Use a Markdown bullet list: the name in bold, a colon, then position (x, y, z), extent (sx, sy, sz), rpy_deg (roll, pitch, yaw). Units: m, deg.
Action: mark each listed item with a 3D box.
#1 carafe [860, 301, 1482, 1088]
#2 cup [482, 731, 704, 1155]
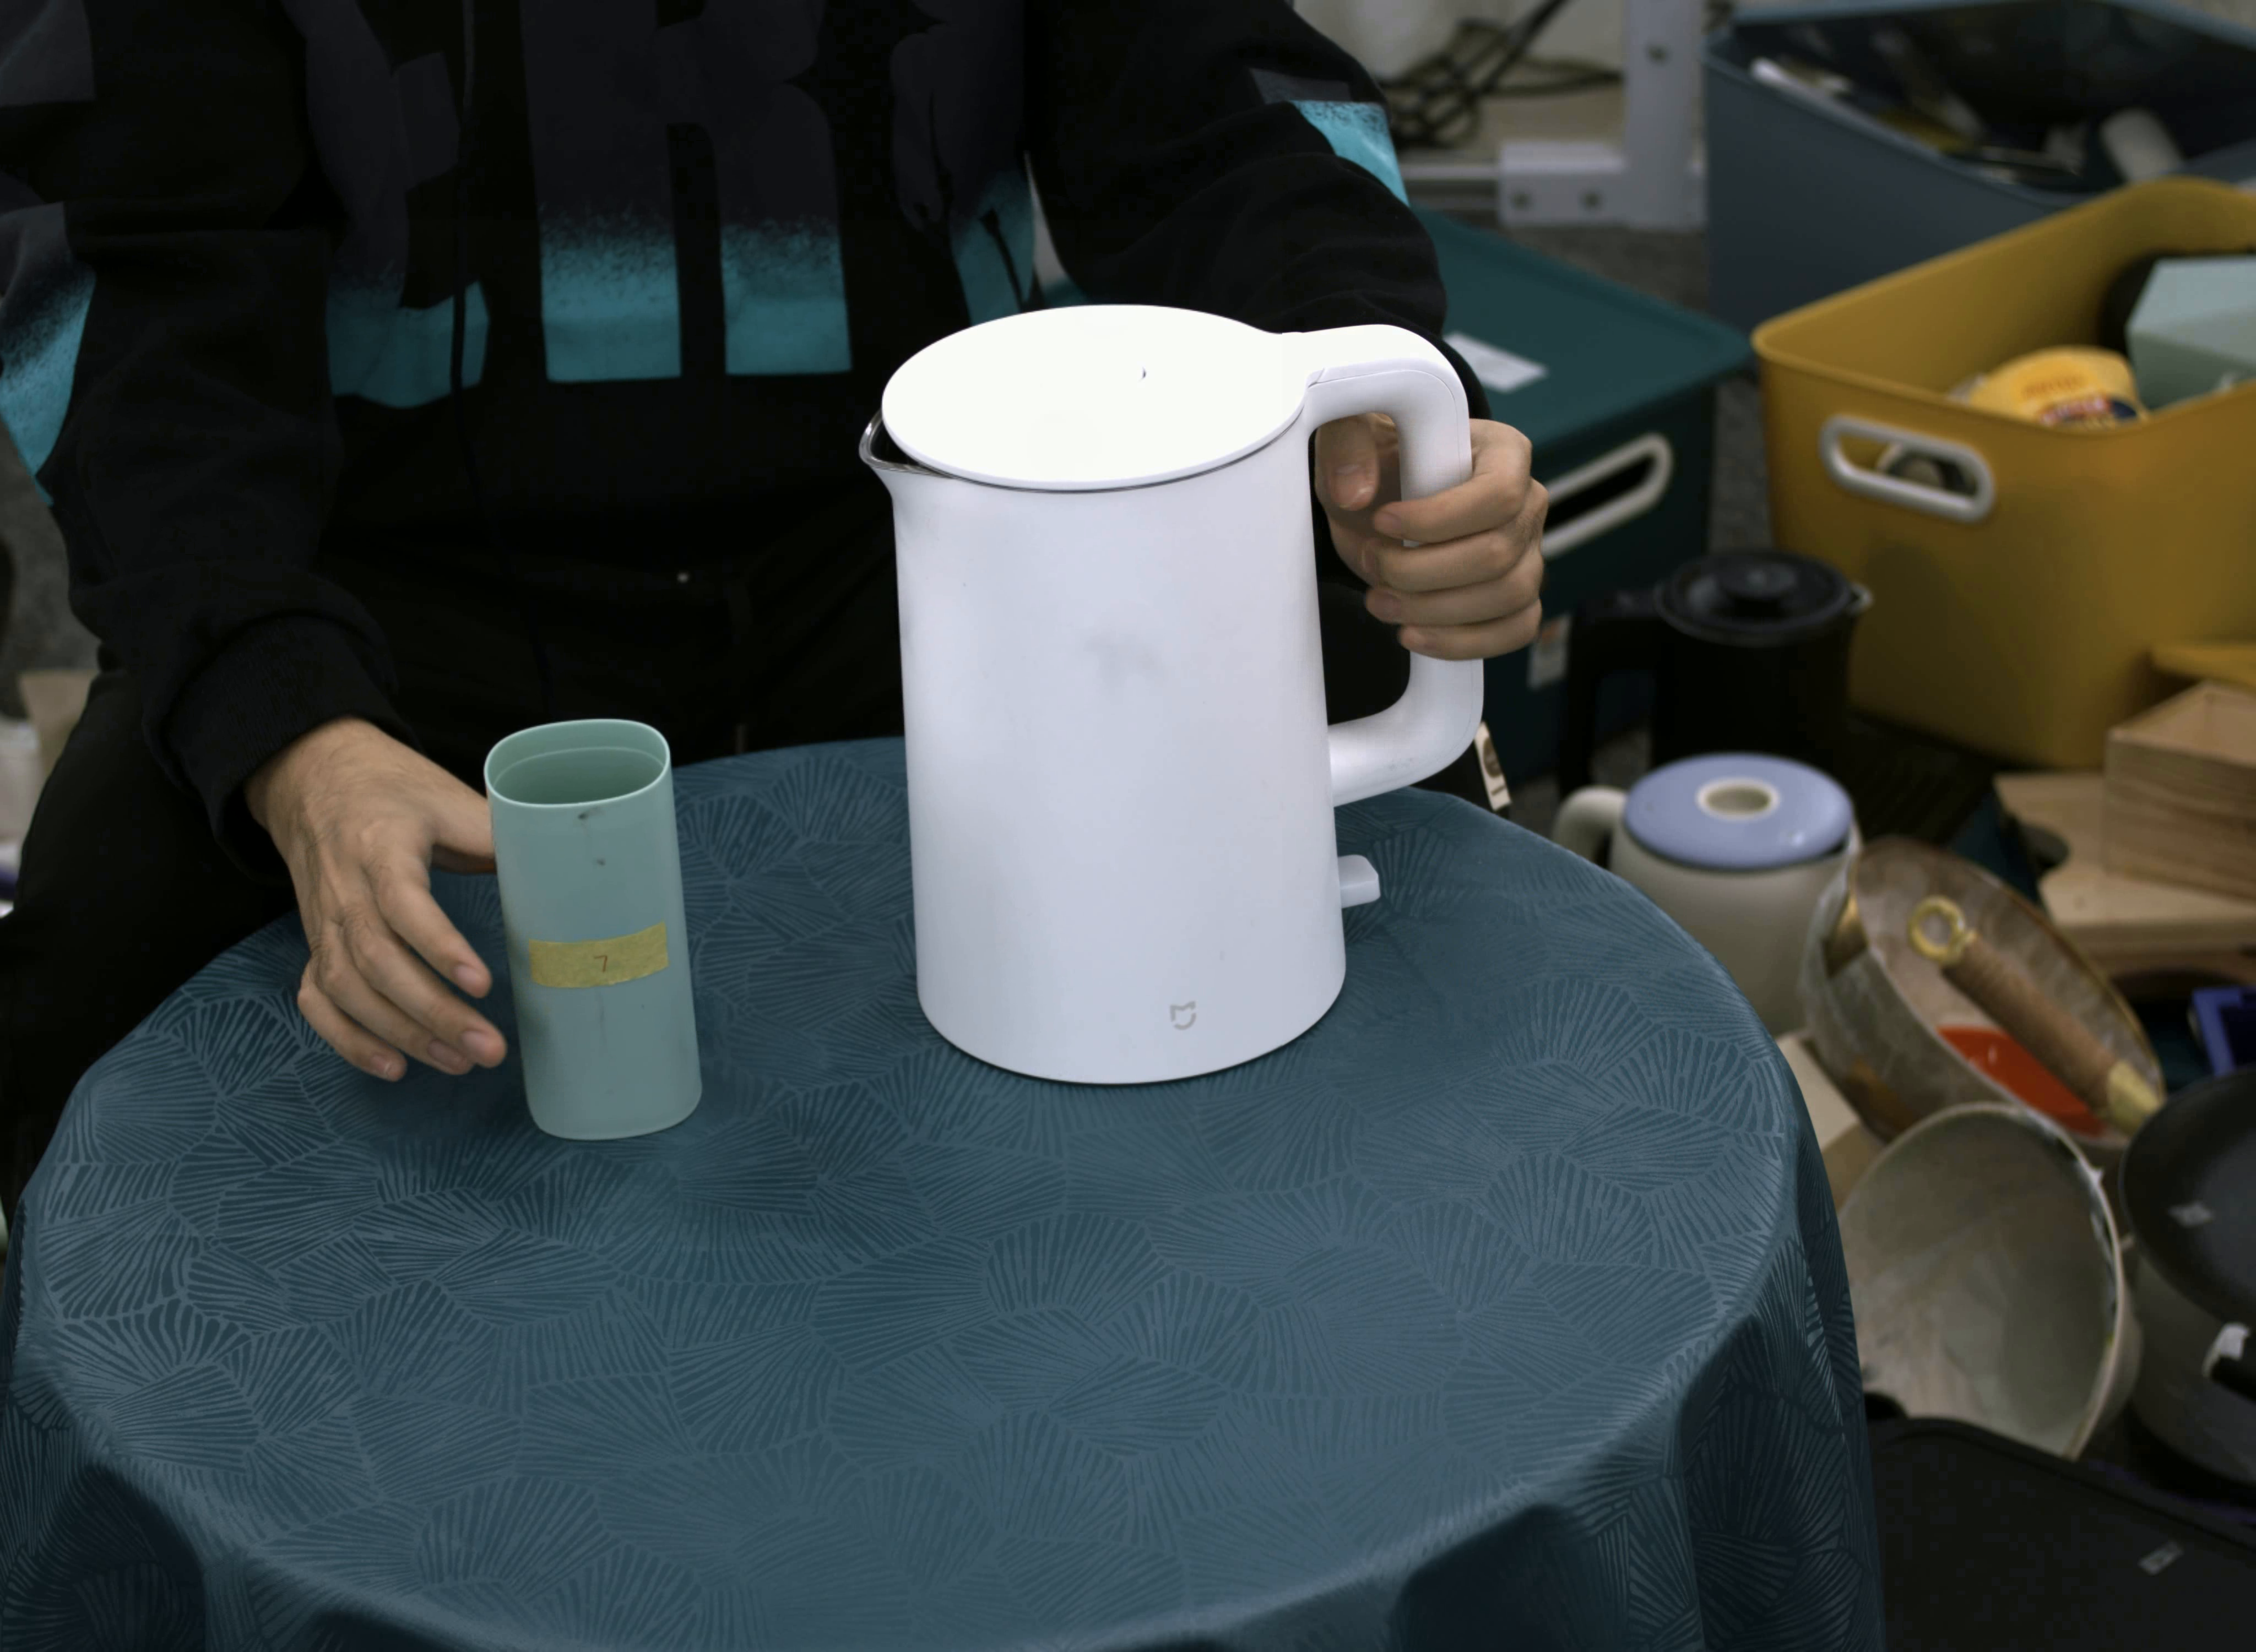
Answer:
- **carafe**: position (0.019, -0.051, 1.942), extent (0.213, 0.237, 0.153), rpy_deg (-11, 29, -14)
- **cup**: position (-0.180, 0.039, 1.904), extent (0.066, 0.131, 0.068), rpy_deg (-3, 28, 2)
